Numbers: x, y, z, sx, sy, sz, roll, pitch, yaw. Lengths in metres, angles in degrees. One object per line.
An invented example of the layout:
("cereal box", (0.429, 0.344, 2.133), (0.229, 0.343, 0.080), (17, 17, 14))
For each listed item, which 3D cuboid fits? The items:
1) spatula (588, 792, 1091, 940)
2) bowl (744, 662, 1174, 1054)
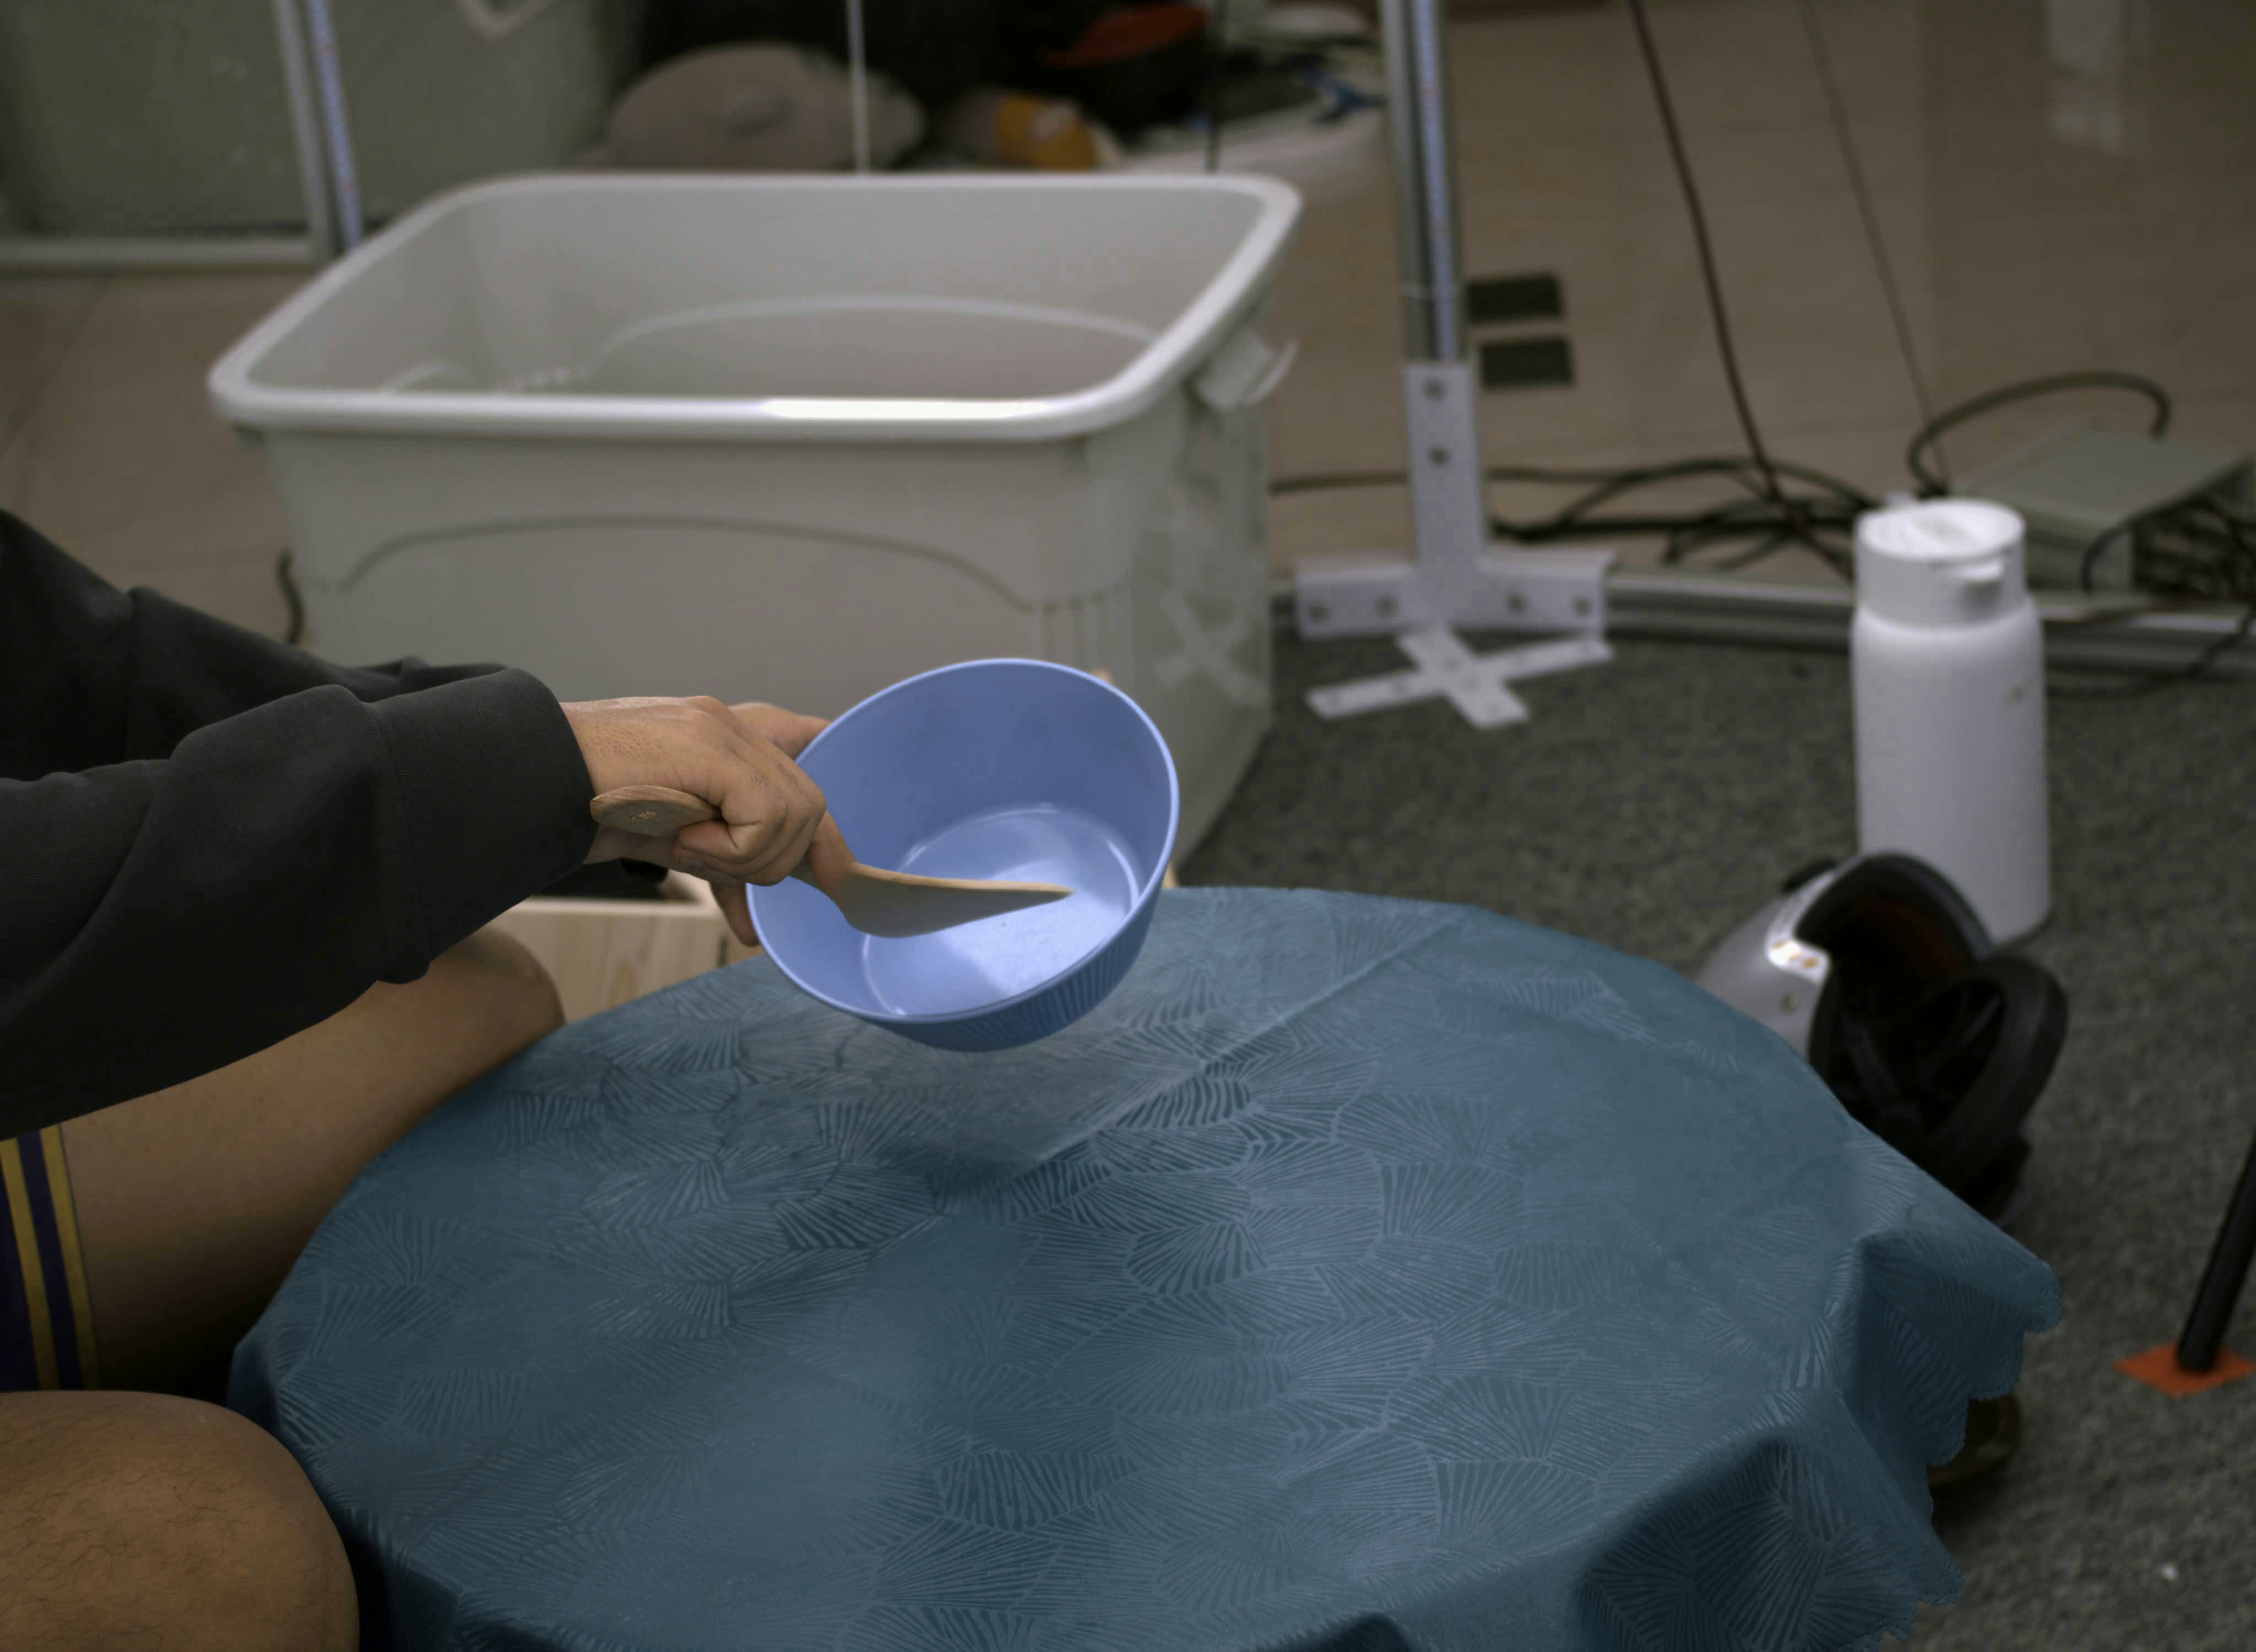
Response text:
("spatula", (-0.110, 0.014, 2.040), (0.080, 0.016, 0.329), (-15, -14, 21))
("bowl", (-0.058, 0.023, 2.226), (0.176, 0.071, 0.173), (-9, 53, 12))
